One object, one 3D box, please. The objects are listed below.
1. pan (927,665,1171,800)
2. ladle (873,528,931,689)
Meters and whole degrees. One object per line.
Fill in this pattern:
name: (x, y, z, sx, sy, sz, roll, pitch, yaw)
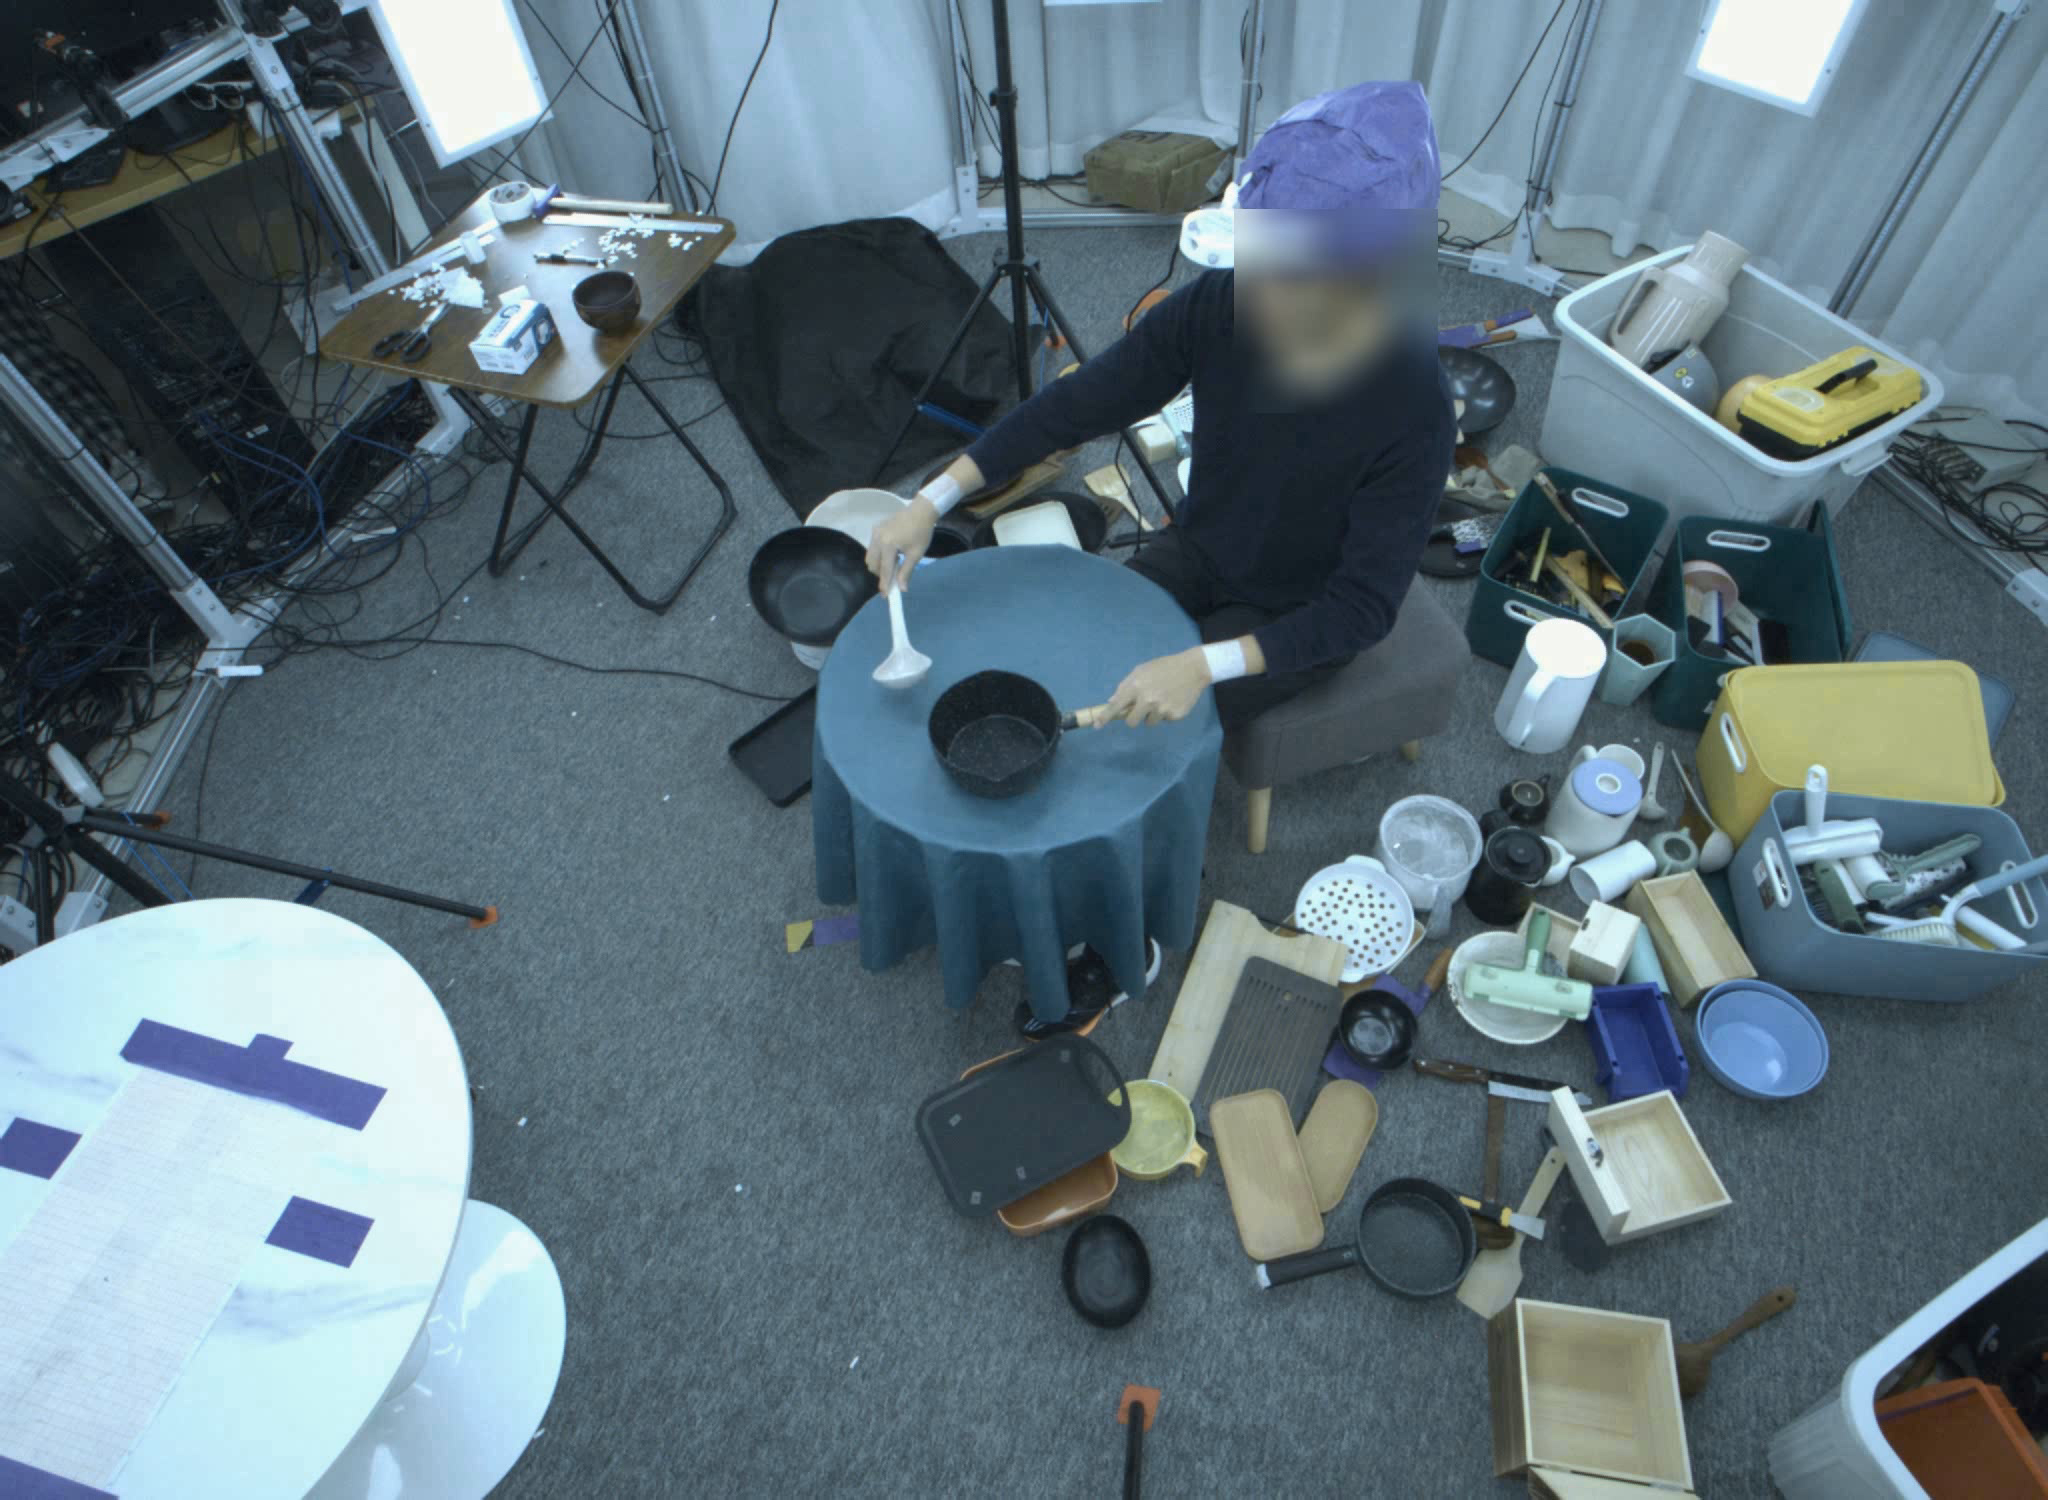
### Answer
pan: (0.038, -0.031, 1.741, 0.343, 0.109, 0.204, -7, 54, -1)
ladle: (-0.198, -0.221, 1.826, 0.089, 0.070, 0.273, -12, 76, 10)
